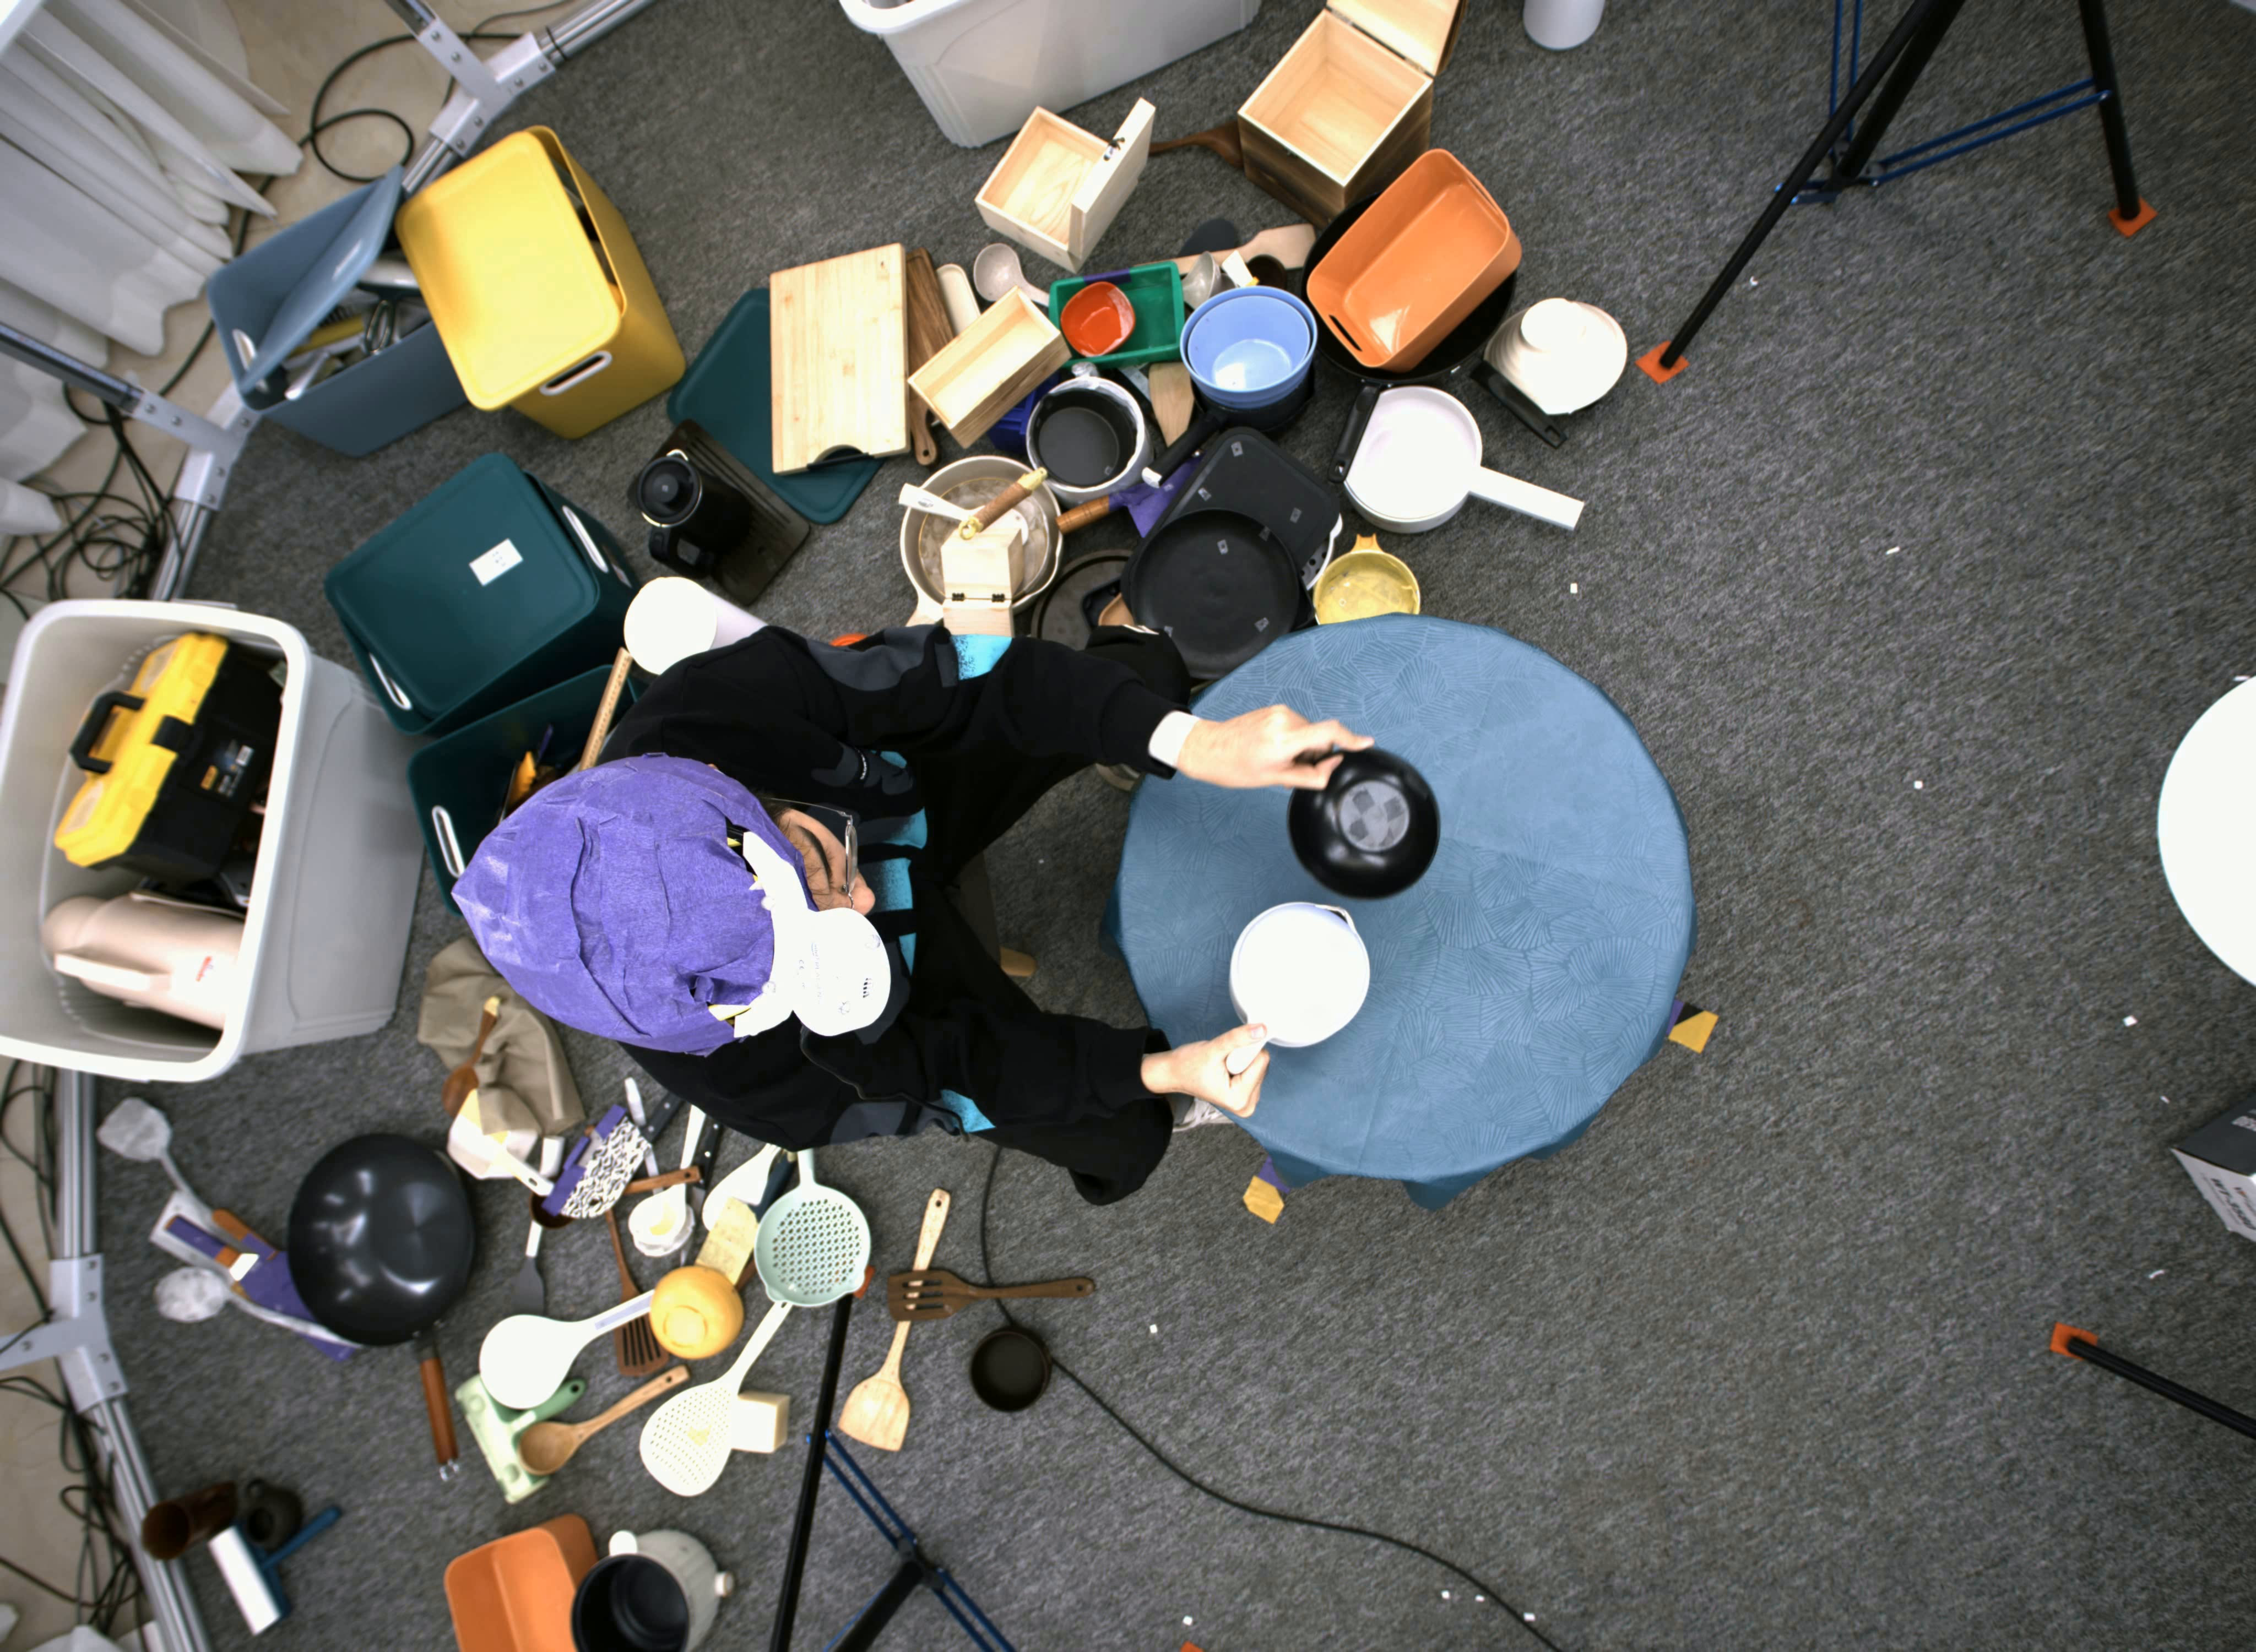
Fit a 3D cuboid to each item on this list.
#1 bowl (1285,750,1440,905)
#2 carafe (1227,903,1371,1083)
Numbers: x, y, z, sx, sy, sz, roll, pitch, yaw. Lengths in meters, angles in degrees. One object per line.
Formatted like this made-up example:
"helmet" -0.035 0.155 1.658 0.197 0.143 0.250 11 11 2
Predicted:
"bowl" 0.212 -0.004 1.221 0.140 0.049 0.142 8 110 26
"carafe" 0.151 0.165 1.346 0.132 0.183 0.190 33 87 10
